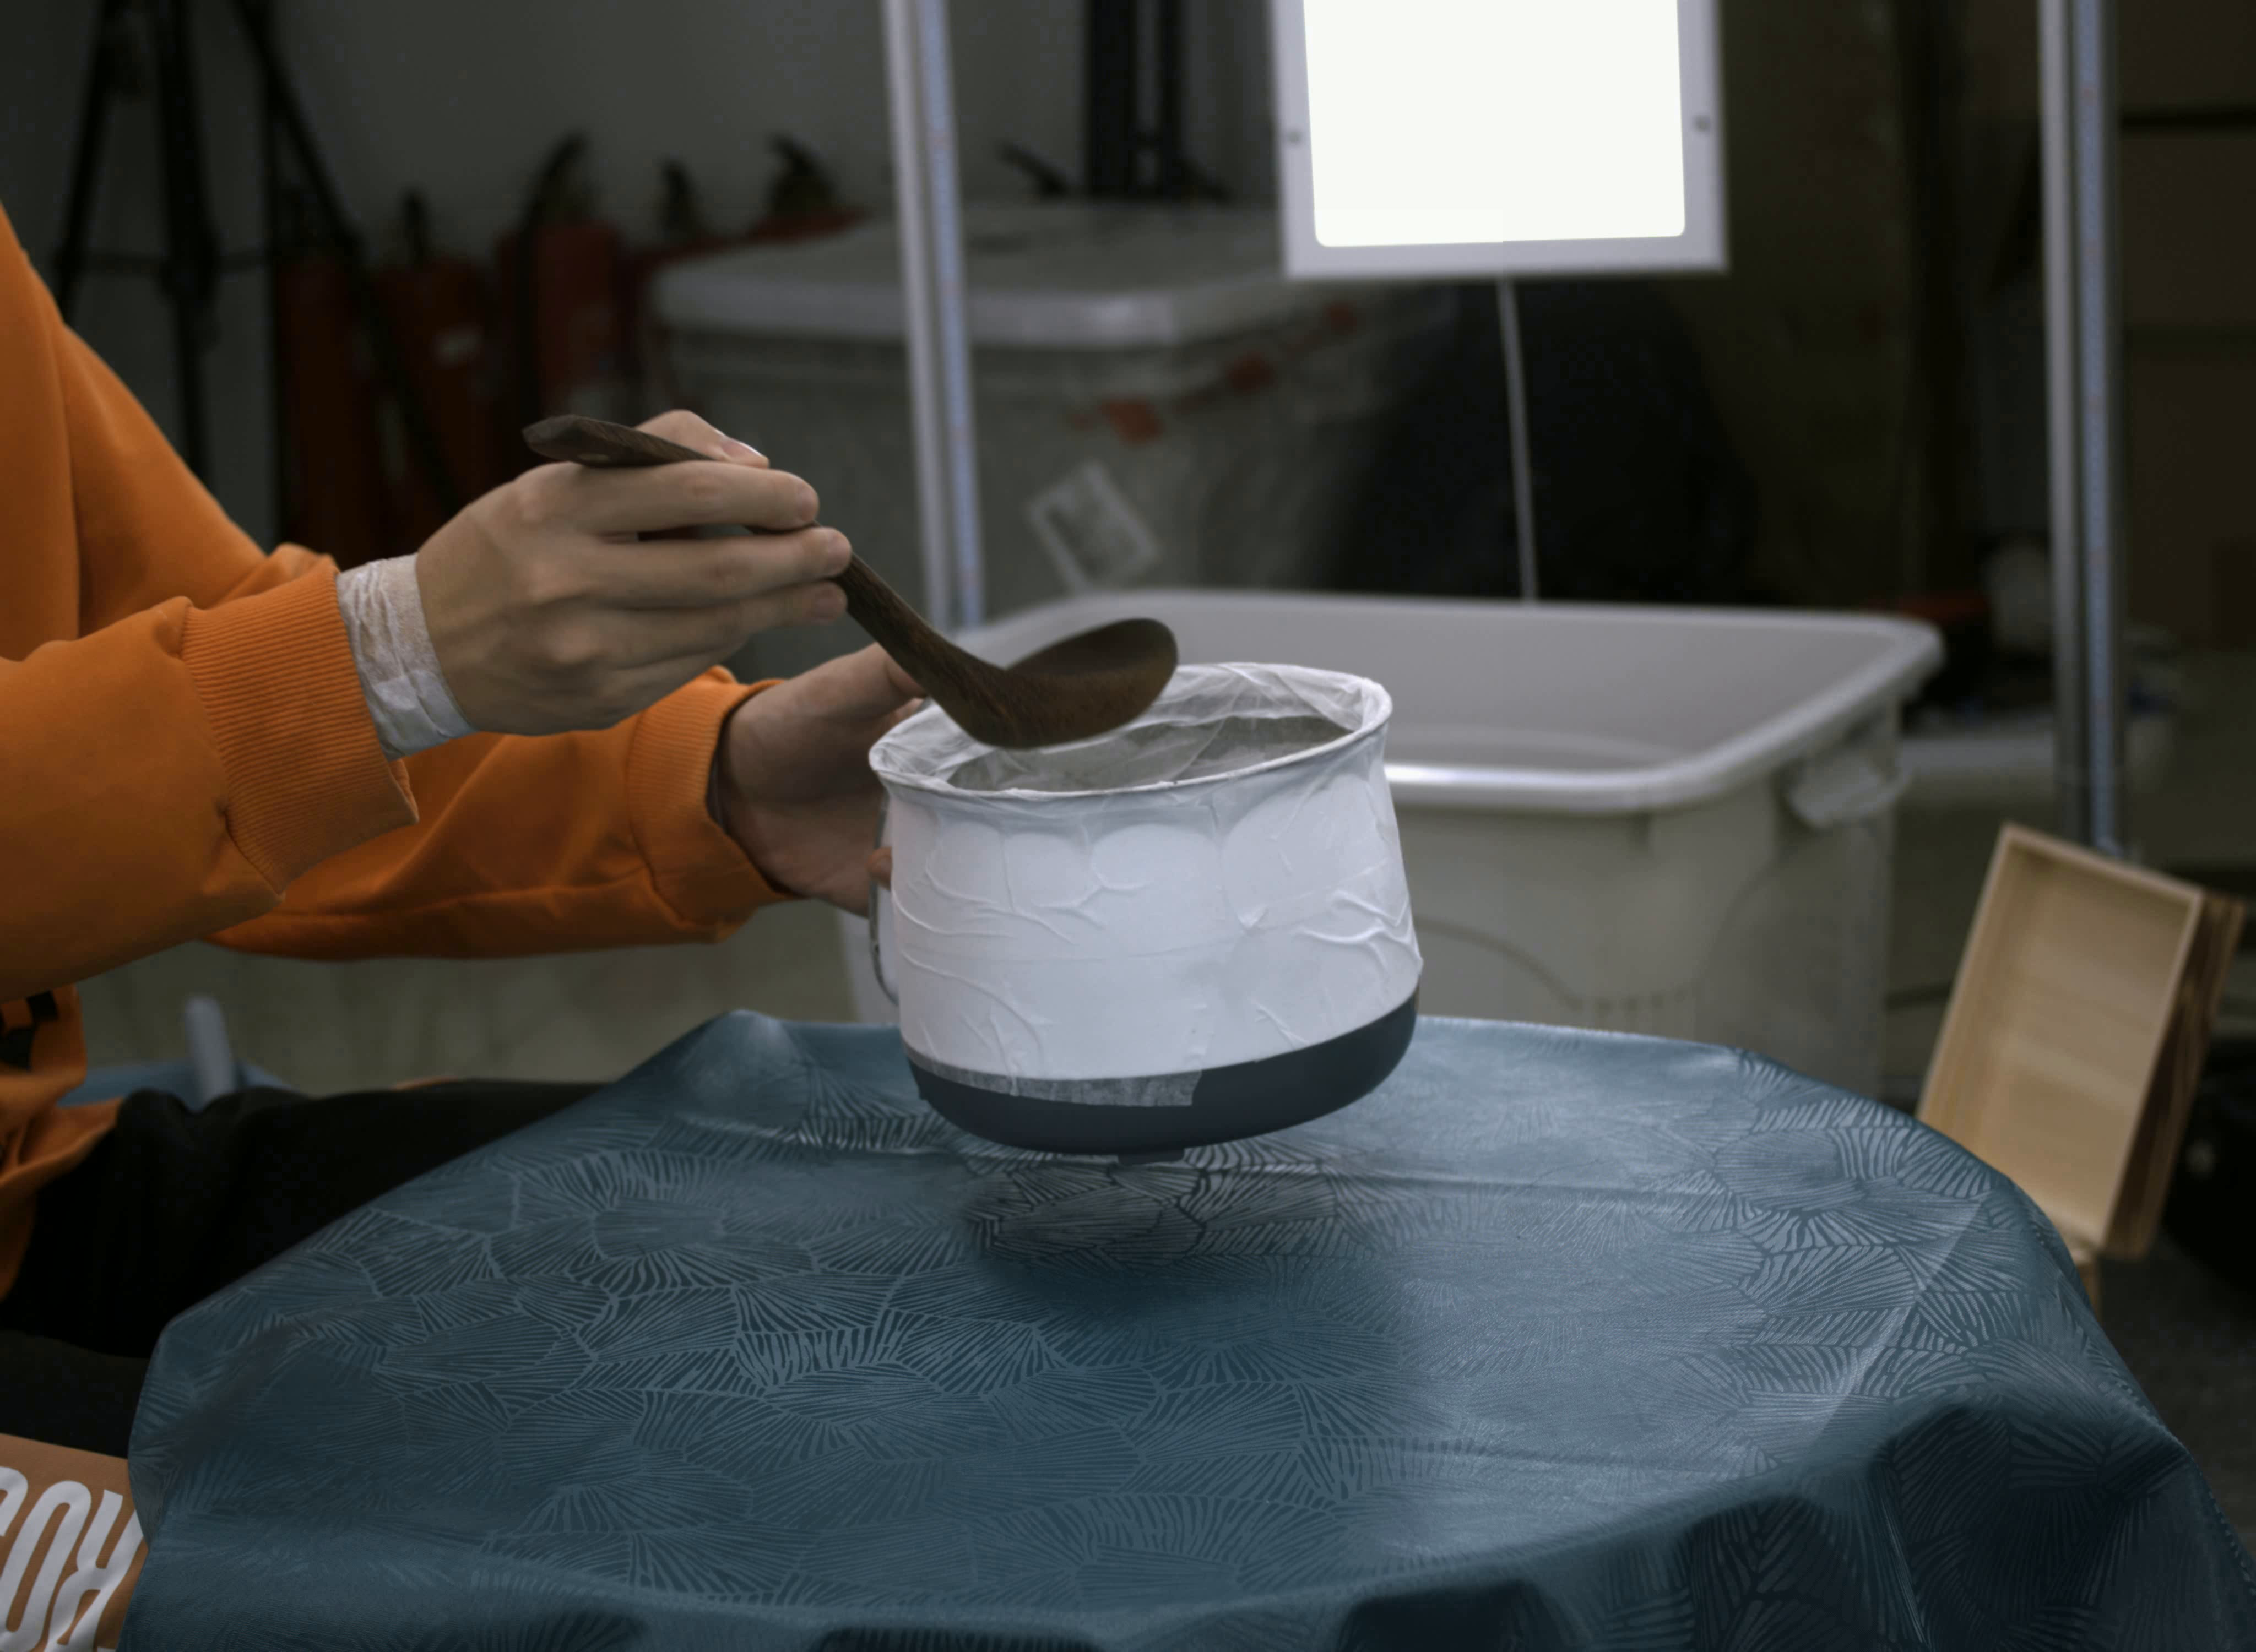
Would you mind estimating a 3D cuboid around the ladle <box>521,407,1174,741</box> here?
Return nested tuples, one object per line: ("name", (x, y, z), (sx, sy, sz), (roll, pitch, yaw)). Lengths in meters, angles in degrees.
("ladle", (-0.088, -0.097, 1.769), (0.078, 0.071, 0.269), (-13, -33, 39))

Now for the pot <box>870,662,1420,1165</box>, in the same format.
("pot", (-0.010, 0.024, 1.873), (0.174, 0.137, 0.239), (-17, 17, -38))
